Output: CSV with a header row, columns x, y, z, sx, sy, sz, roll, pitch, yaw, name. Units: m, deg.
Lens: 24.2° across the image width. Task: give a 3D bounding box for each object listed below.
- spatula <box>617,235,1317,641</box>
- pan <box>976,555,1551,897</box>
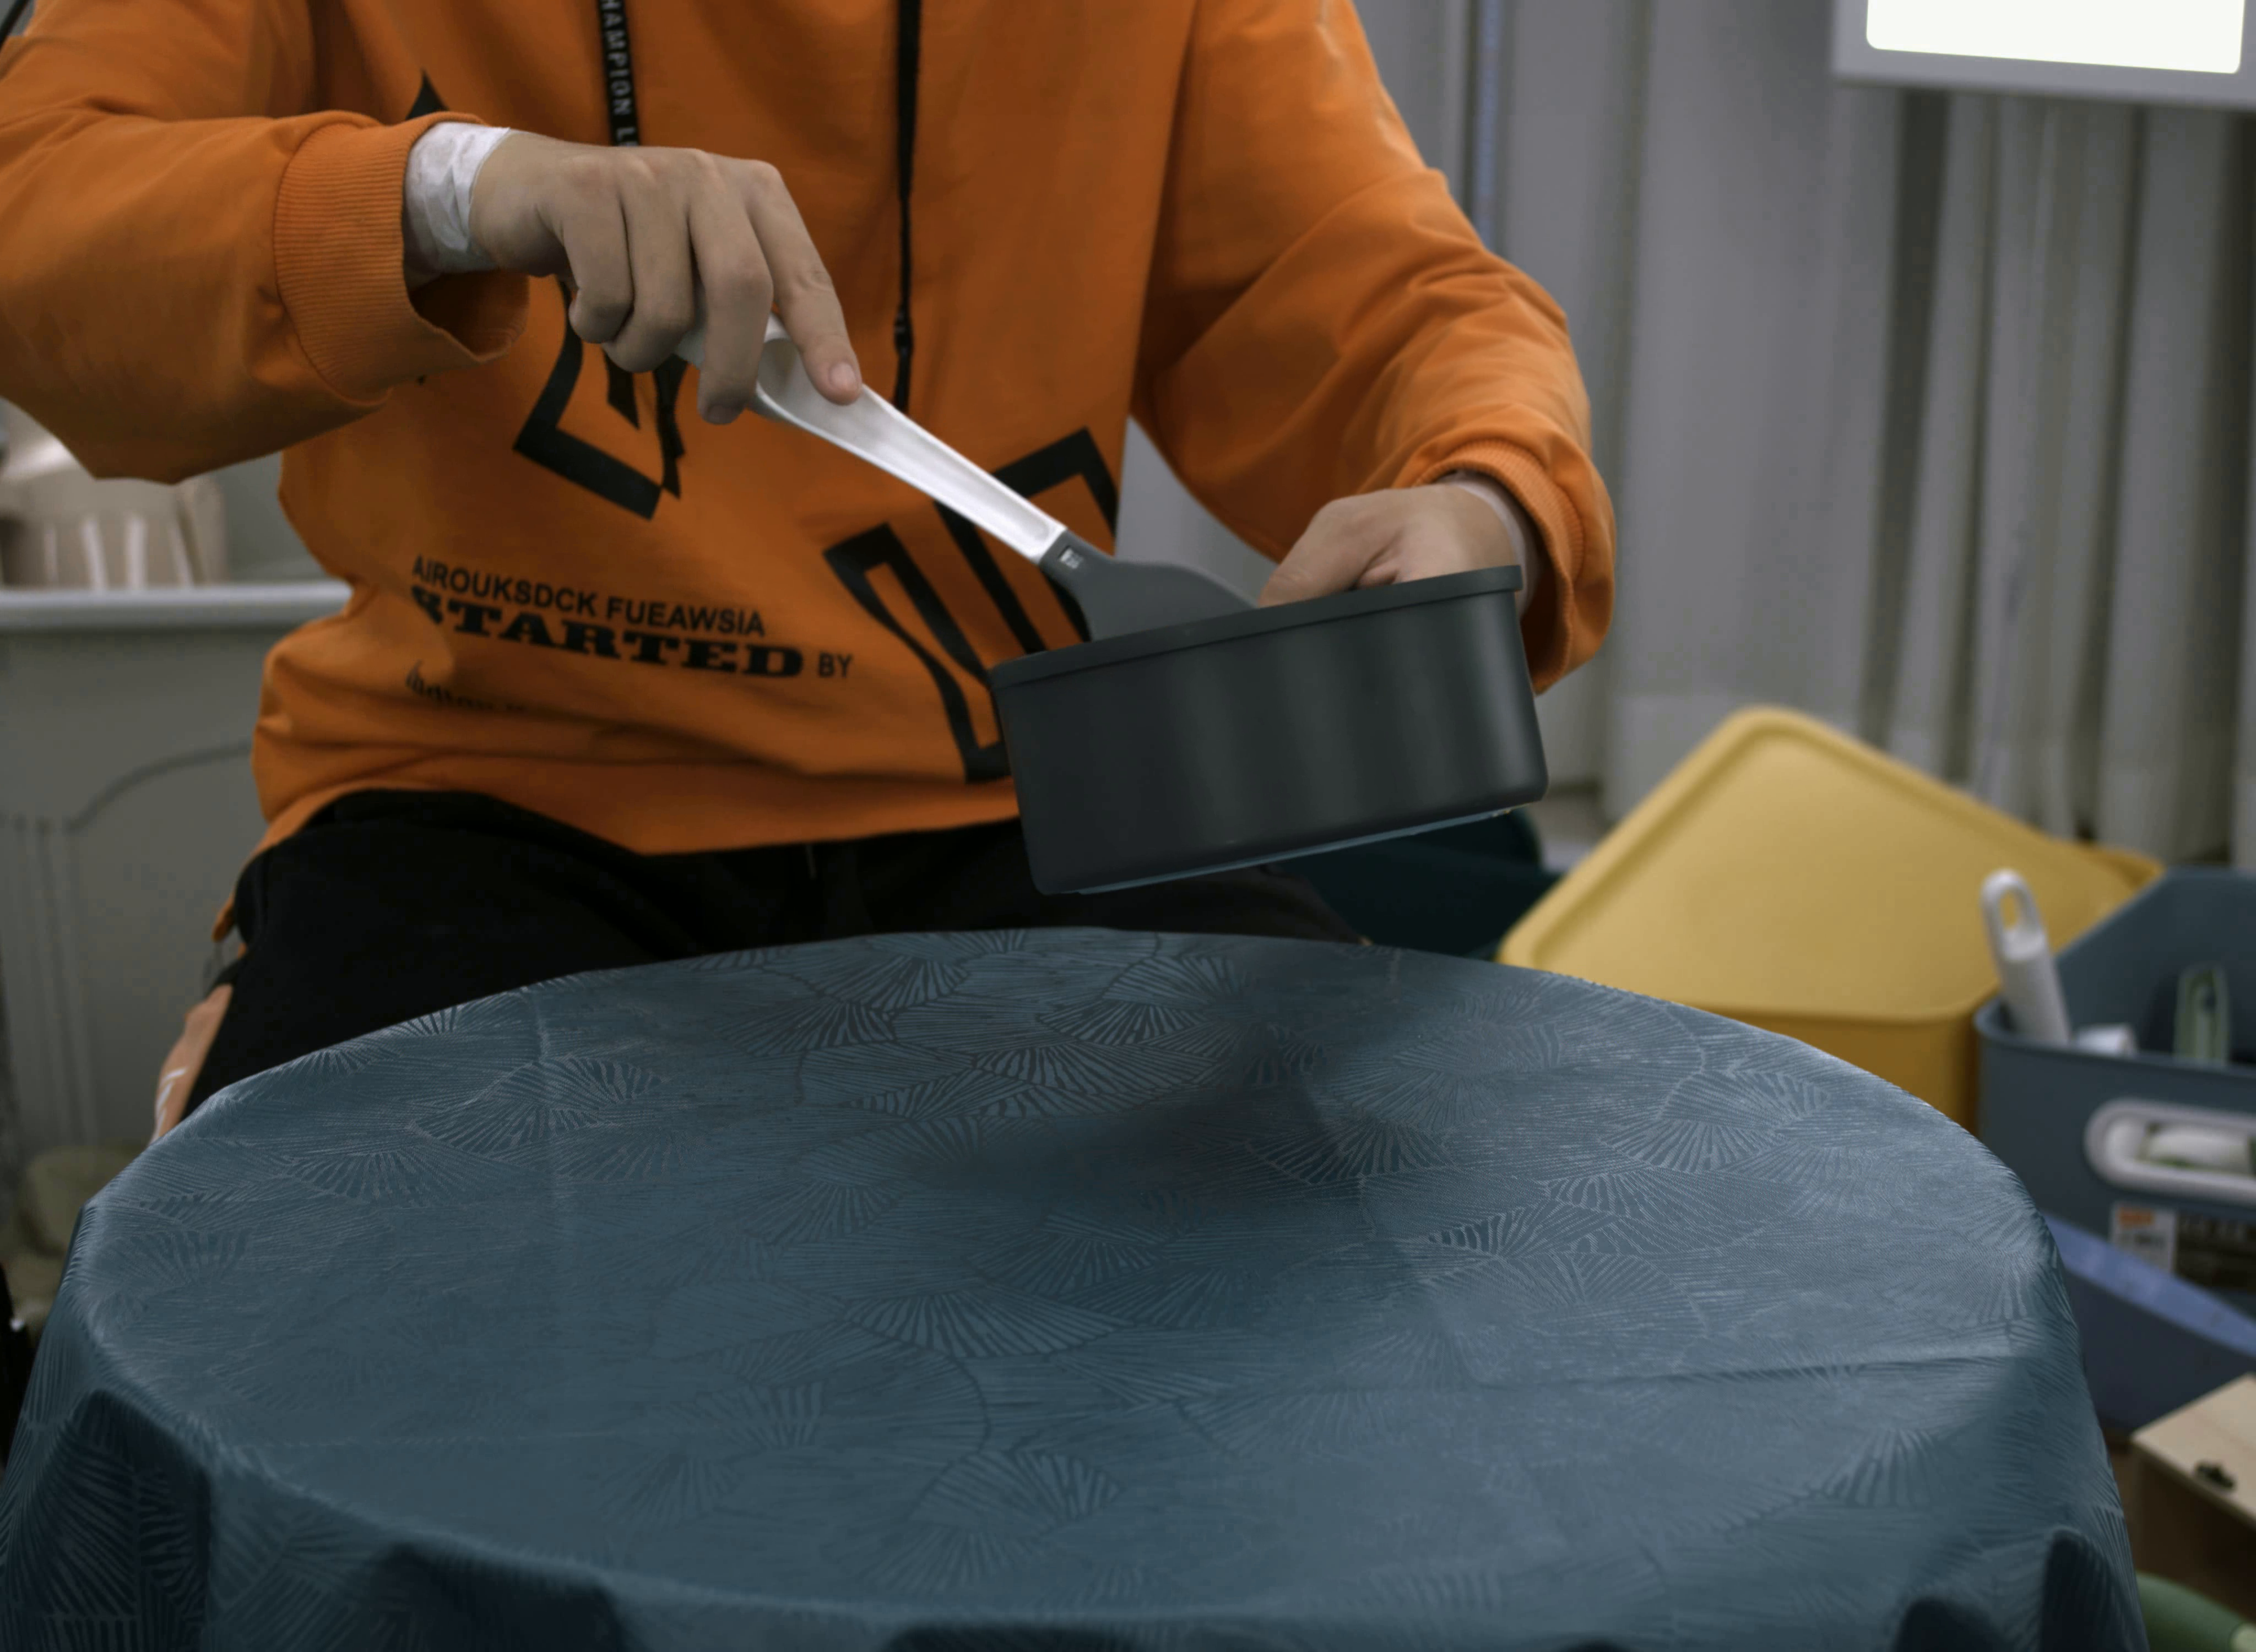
x,y,z,sx,sy,sz,roll,pitch,yaw,name
-0.045,-0.108,1.705,0.285,0.058,0.032,33,-15,15,spatula
0.062,-0.036,1.705,0.171,0.087,0.329,-10,2,14,pan
